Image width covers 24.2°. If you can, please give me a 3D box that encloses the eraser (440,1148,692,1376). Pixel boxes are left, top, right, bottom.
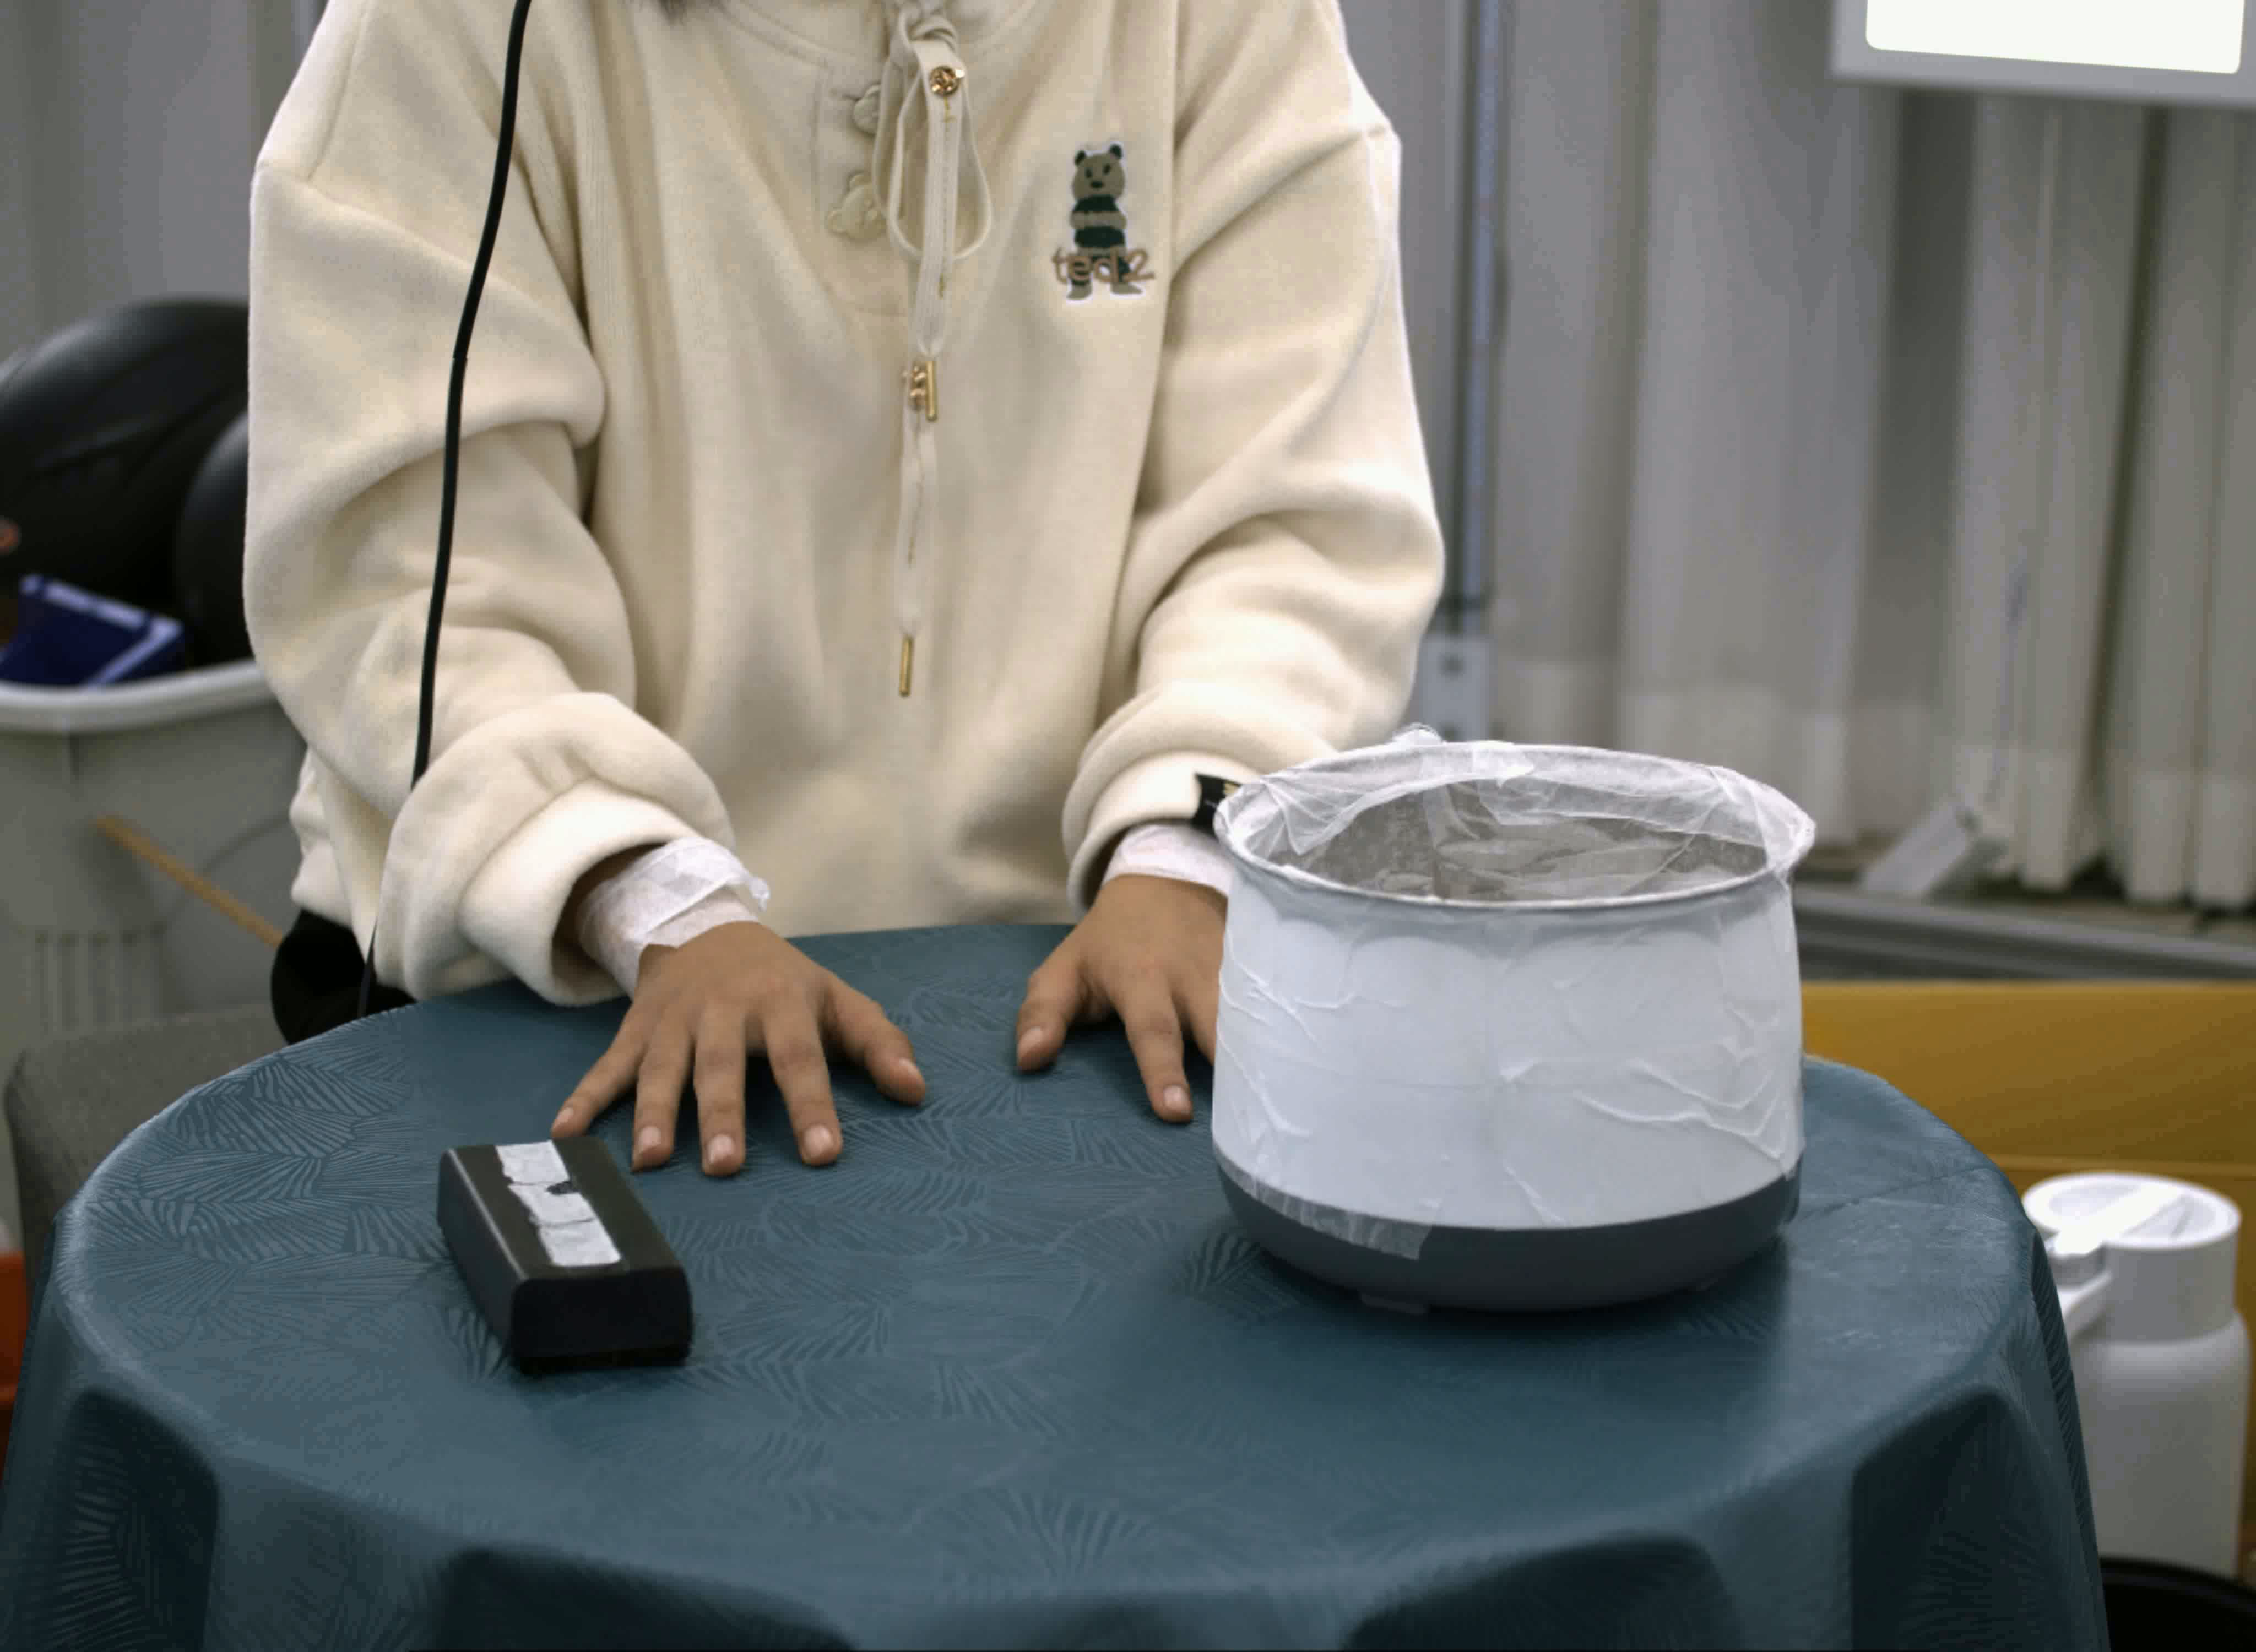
[{"bbox_3d":[-0.163,0.125,1.521,0.053,0.031,0.124,-4,15,-16],"label":"eraser"}]

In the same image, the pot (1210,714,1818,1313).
[{"bbox_3d":[0.105,0.051,1.585,0.179,0.138,0.231,-4,17,-15],"label":"pot"}]
